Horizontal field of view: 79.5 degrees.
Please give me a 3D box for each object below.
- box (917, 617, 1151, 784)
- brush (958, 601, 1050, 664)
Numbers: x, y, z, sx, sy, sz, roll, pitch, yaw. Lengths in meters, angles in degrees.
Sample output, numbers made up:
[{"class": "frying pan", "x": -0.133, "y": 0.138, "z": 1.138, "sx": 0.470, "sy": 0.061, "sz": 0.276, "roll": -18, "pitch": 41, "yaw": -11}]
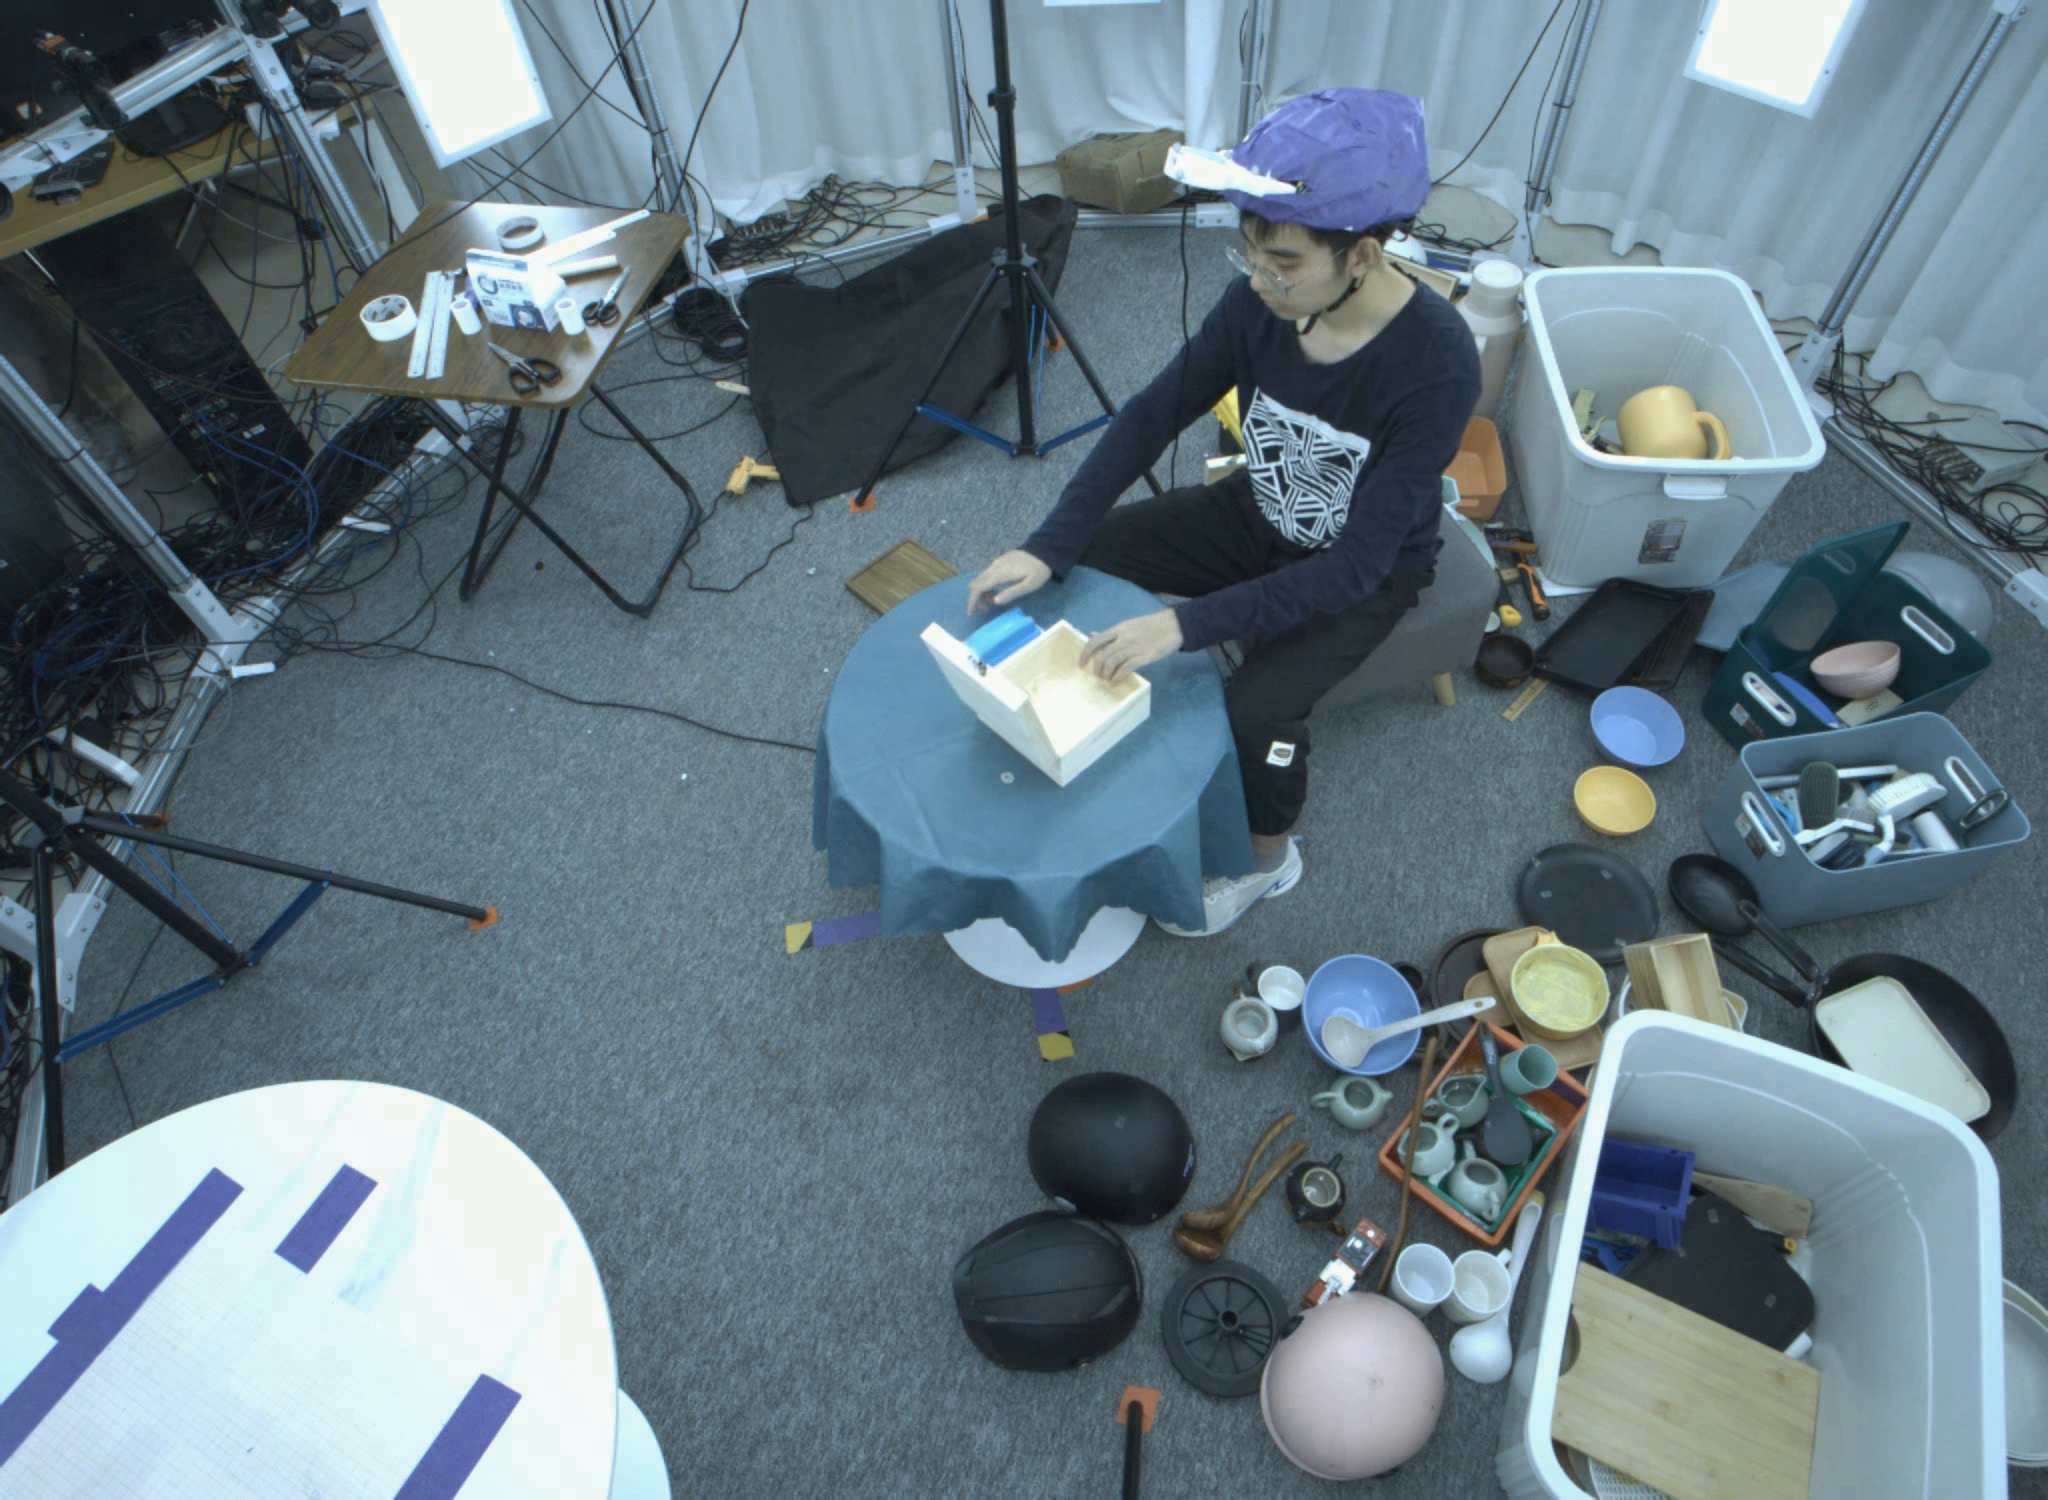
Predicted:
[{"class": "box", "x": 0.025, "y": -0.107, "z": 1.697, "sx": 0.178, "sy": 0.256, "sz": 0.267, "roll": 38, "pitch": 64, "yaw": 26}, {"class": "brush", "x": -0.035, "y": -0.177, "z": 1.870, "sx": 0.145, "sy": 0.056, "sz": 0.082, "roll": -36, "pitch": 64, "yaw": -18}]
